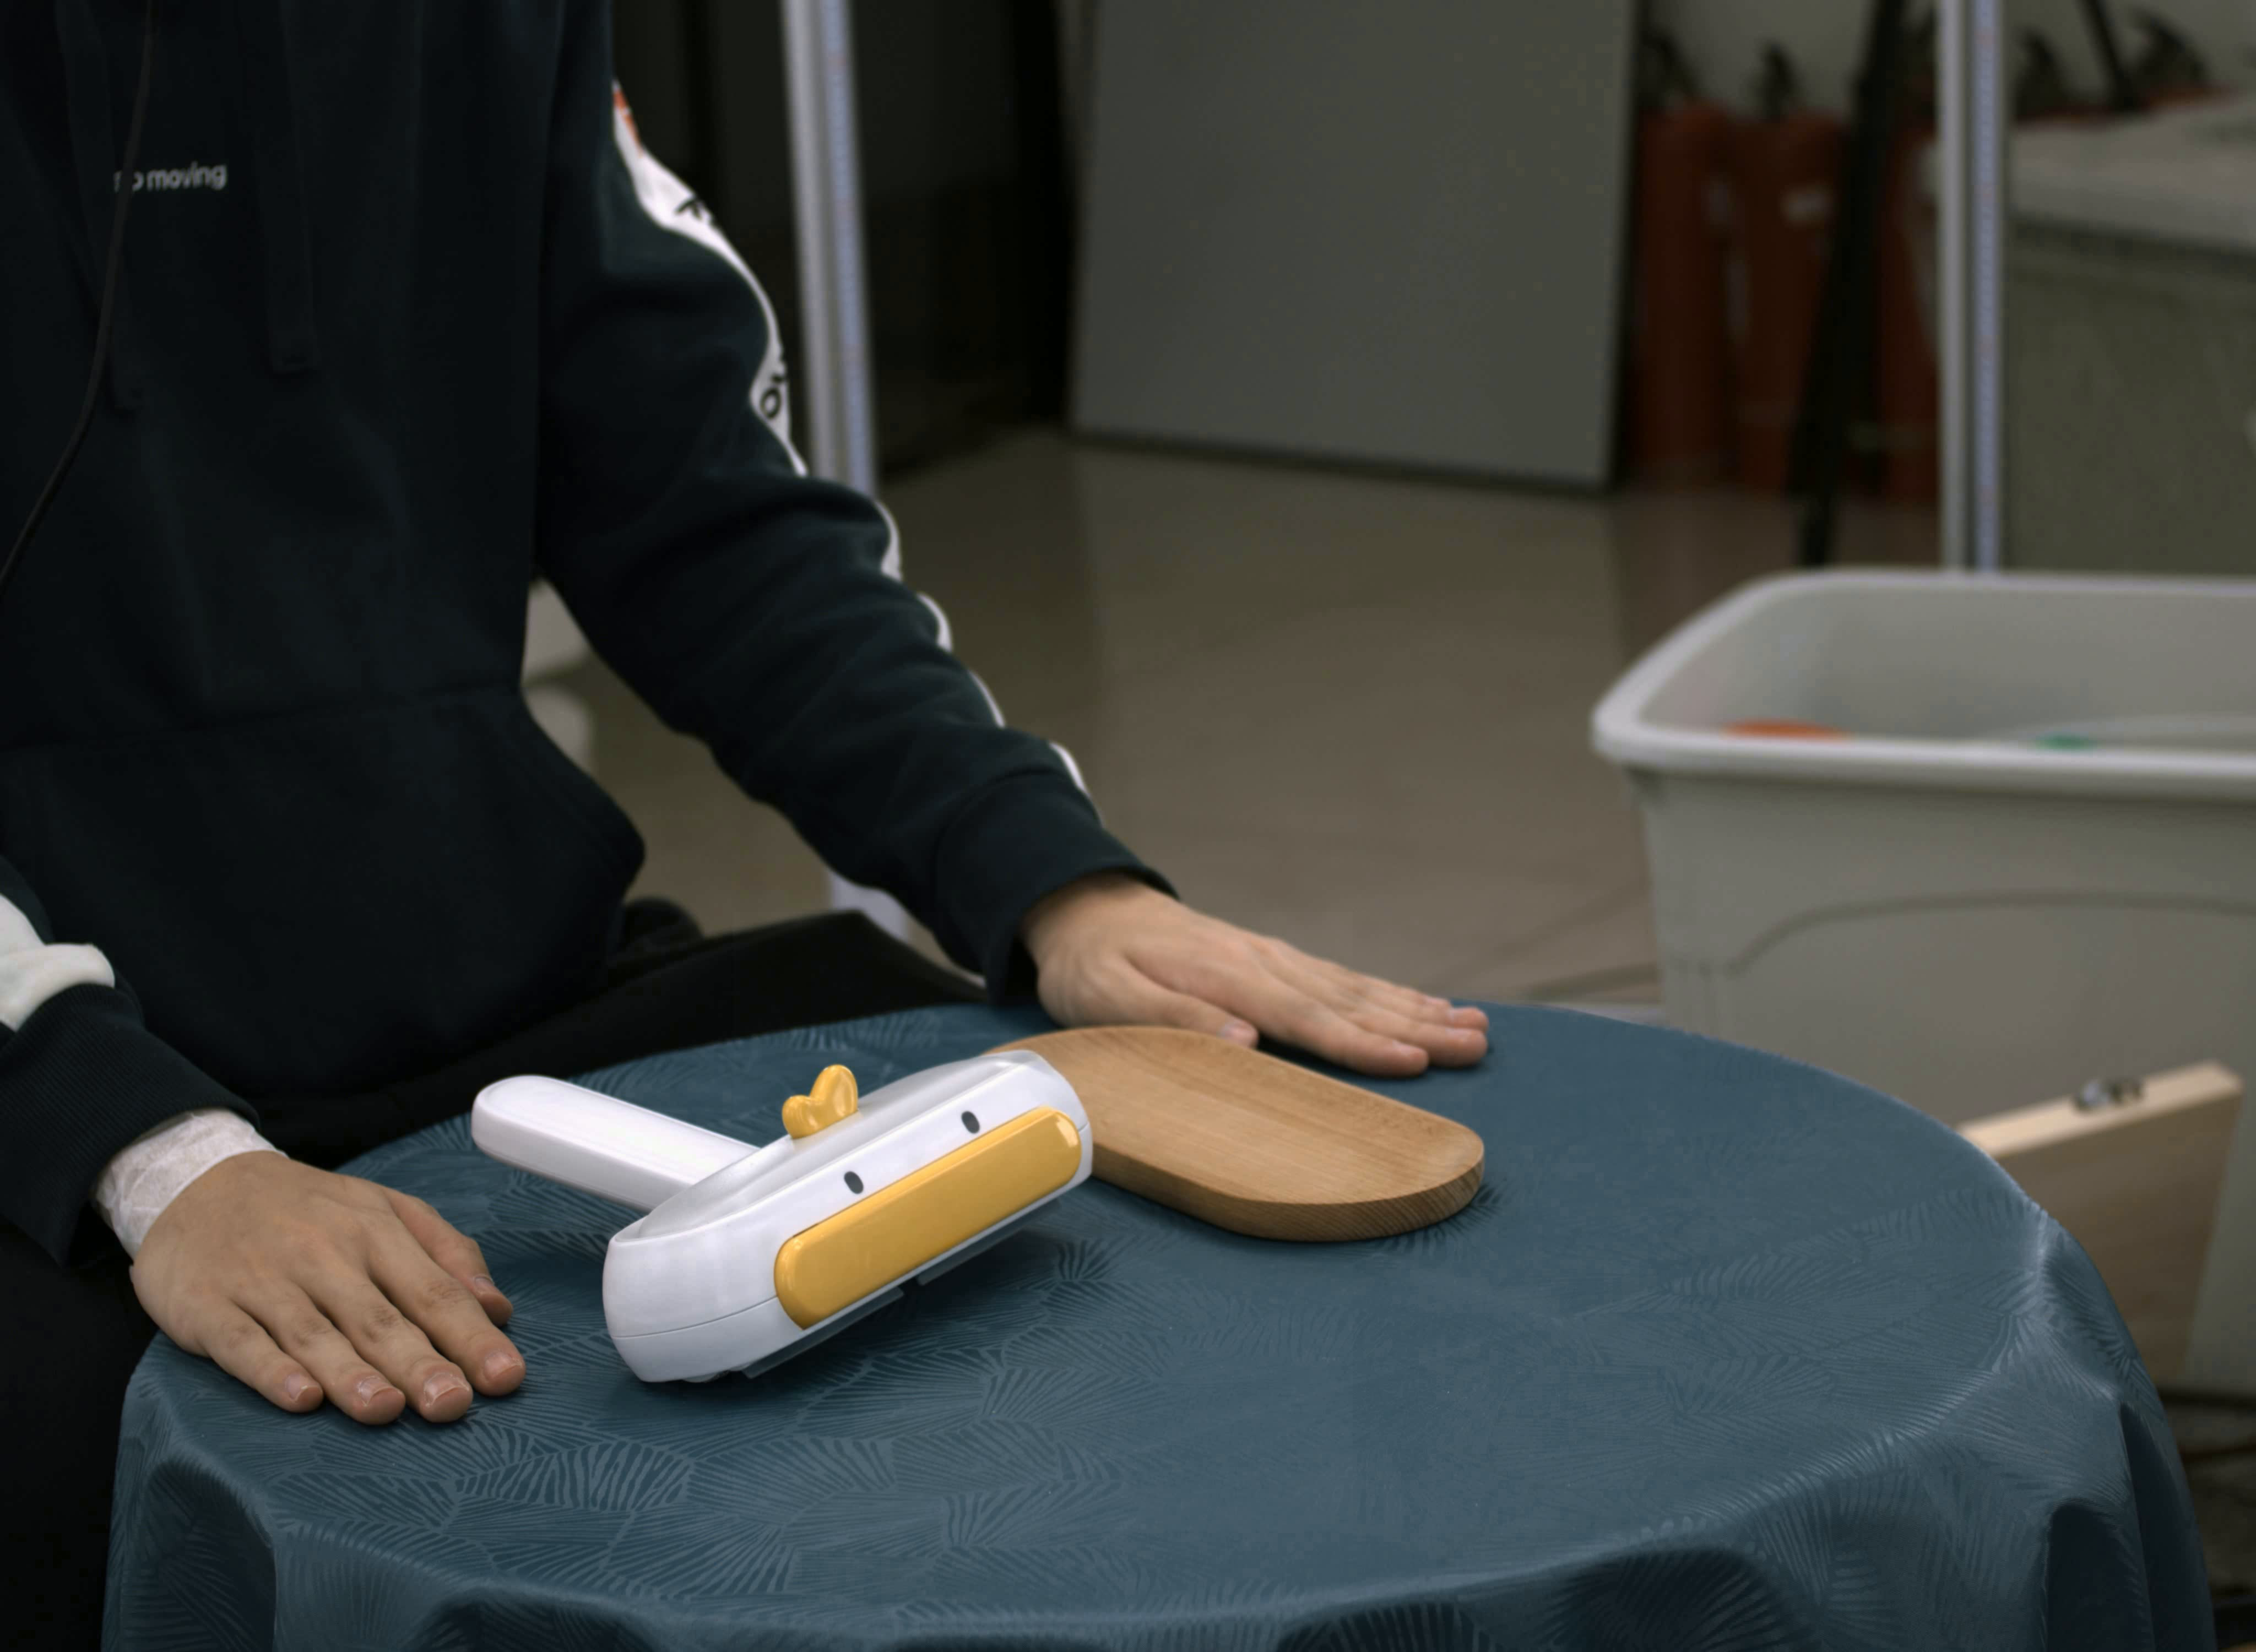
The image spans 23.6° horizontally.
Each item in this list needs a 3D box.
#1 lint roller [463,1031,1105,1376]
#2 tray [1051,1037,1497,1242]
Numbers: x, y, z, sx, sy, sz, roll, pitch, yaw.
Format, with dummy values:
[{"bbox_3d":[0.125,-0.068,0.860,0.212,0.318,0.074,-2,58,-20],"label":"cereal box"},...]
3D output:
[{"bbox_3d":[-0.129,0.112,1.707,0.193,0.075,0.190,-3,20,37],"label":"lint roller"},{"bbox_3d":[0.032,0.103,1.800,0.099,0.020,0.233,-14,18,-32],"label":"tray"}]
